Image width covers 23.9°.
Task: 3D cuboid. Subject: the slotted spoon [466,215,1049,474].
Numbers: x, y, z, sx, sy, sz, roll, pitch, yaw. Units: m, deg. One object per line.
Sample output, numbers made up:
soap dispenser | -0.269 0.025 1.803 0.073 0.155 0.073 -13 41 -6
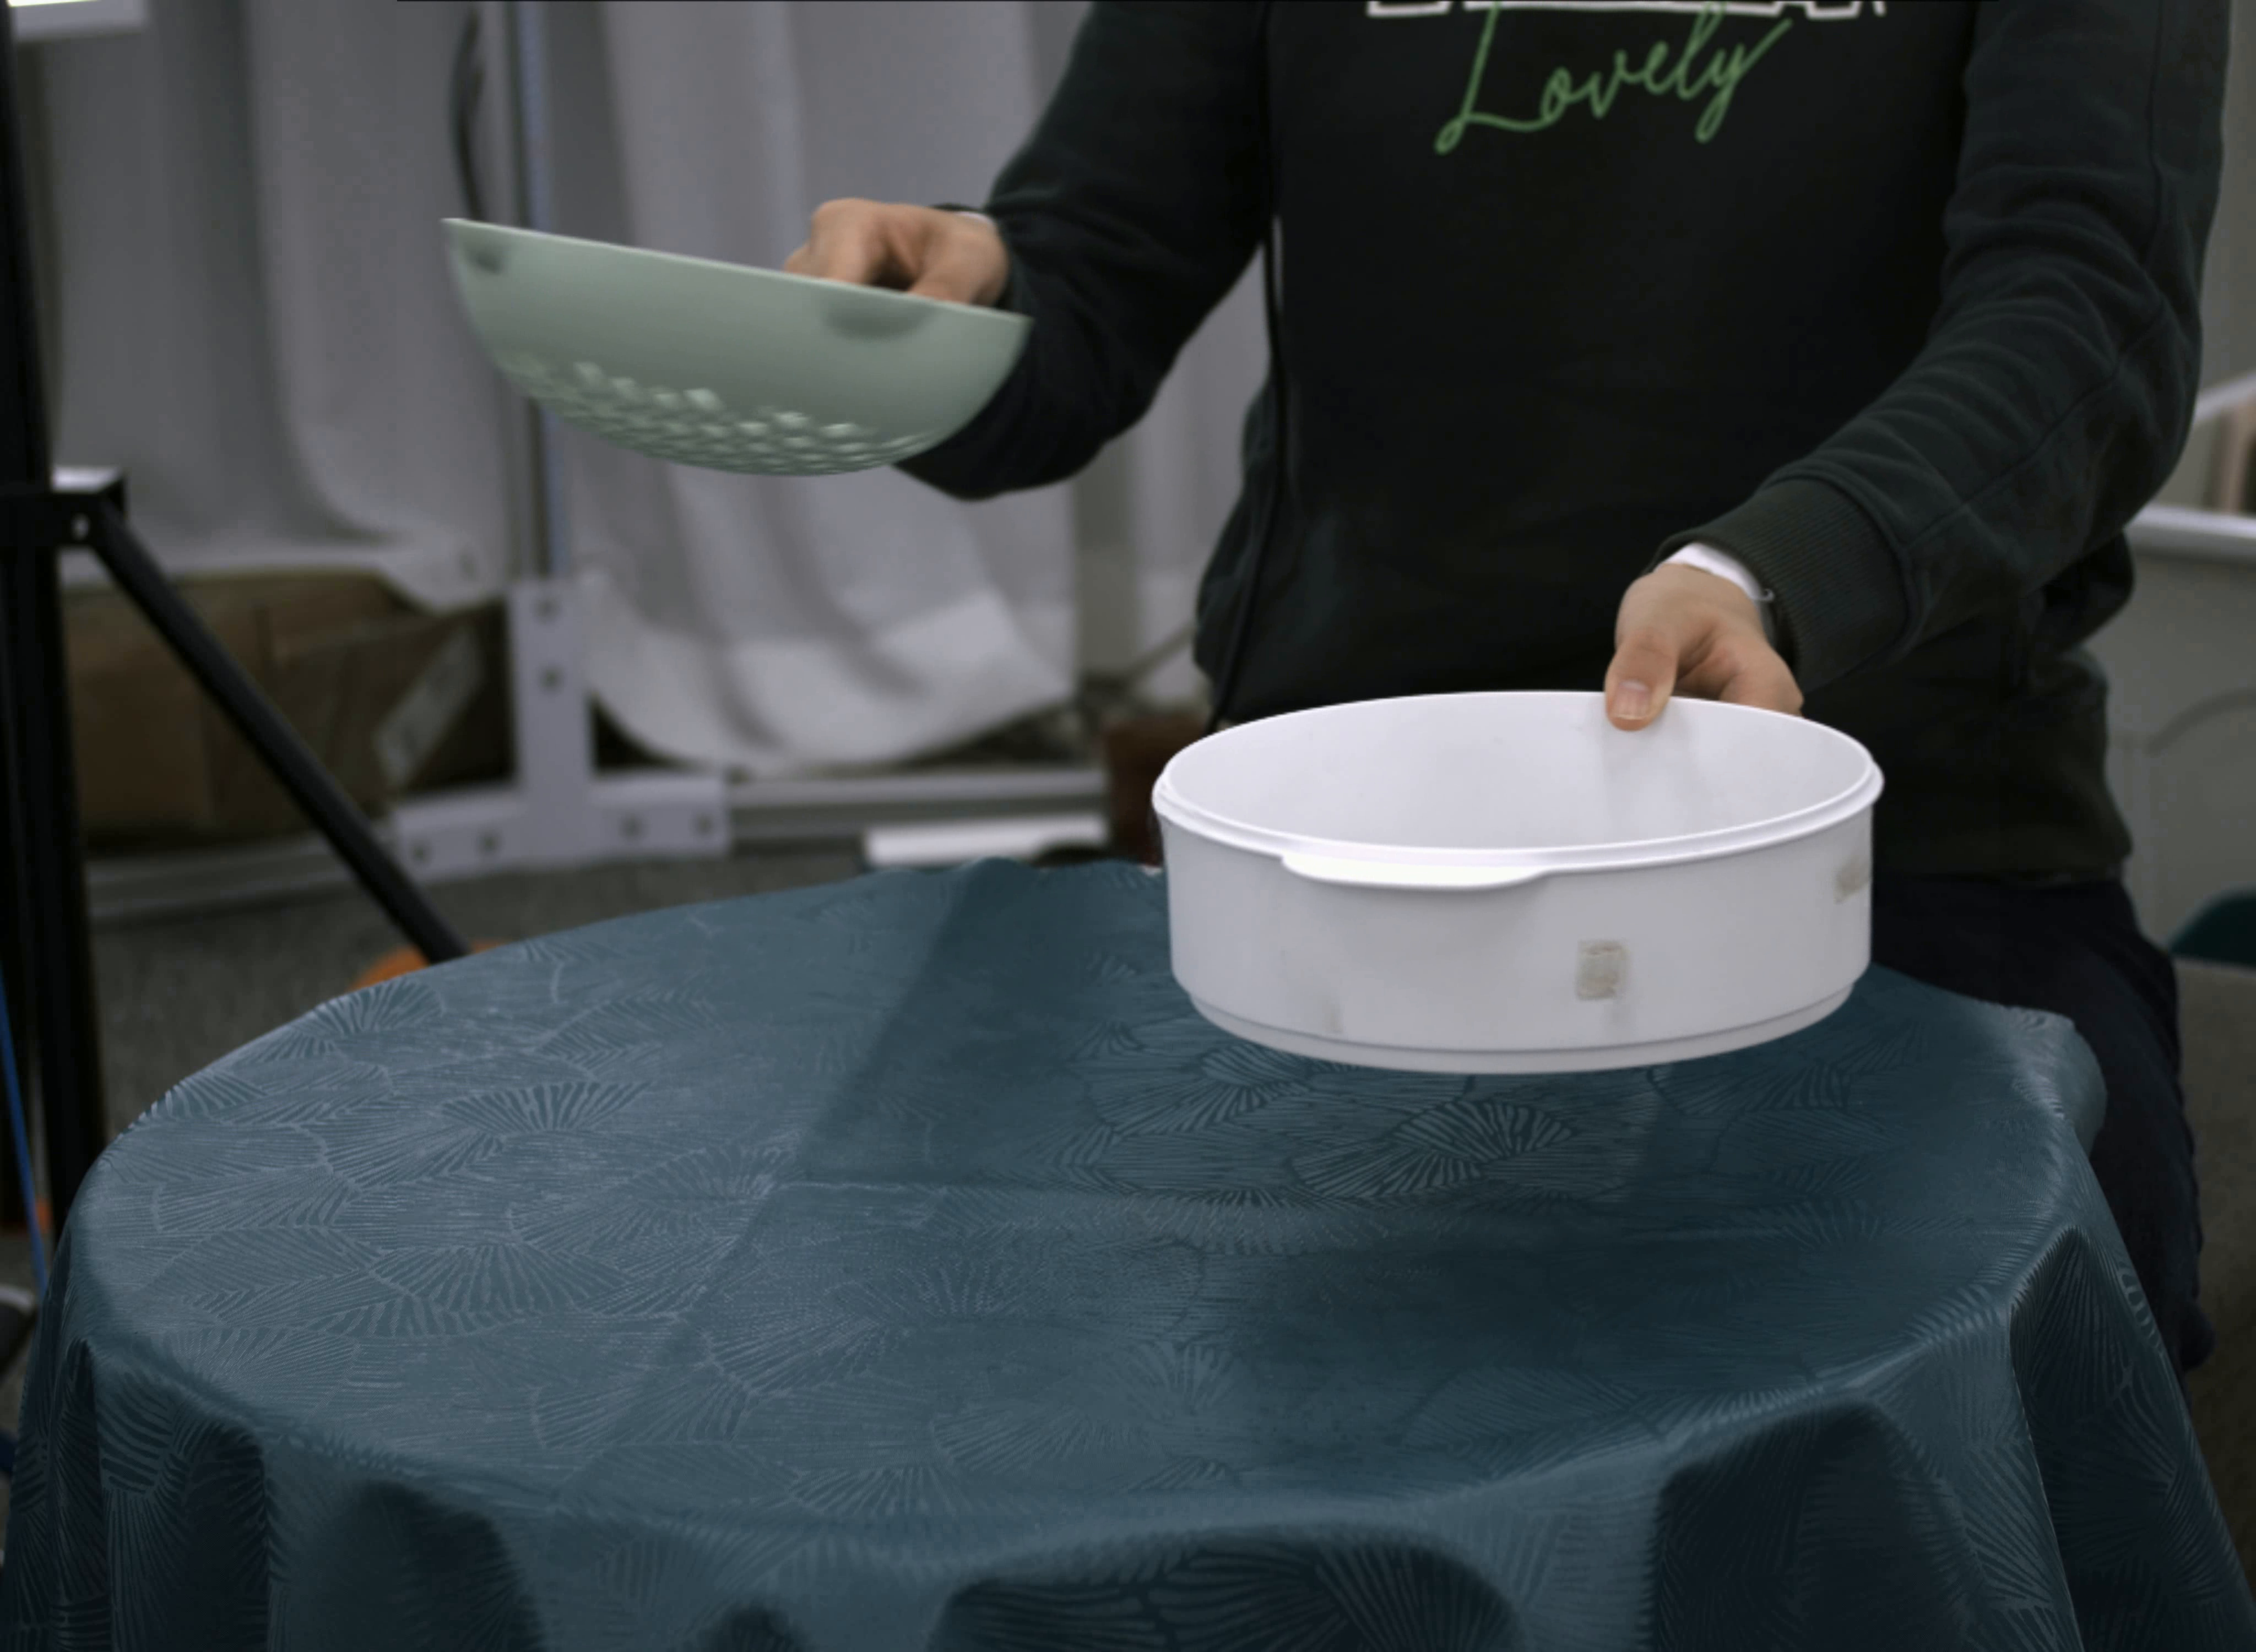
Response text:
slotted spoon | -0.089 -0.150 1.634 0.170 0.075 0.355 10 11 12

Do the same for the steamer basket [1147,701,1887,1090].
steamer basket | 0.106 0.019 1.458 0.204 0.069 0.227 4 14 20
